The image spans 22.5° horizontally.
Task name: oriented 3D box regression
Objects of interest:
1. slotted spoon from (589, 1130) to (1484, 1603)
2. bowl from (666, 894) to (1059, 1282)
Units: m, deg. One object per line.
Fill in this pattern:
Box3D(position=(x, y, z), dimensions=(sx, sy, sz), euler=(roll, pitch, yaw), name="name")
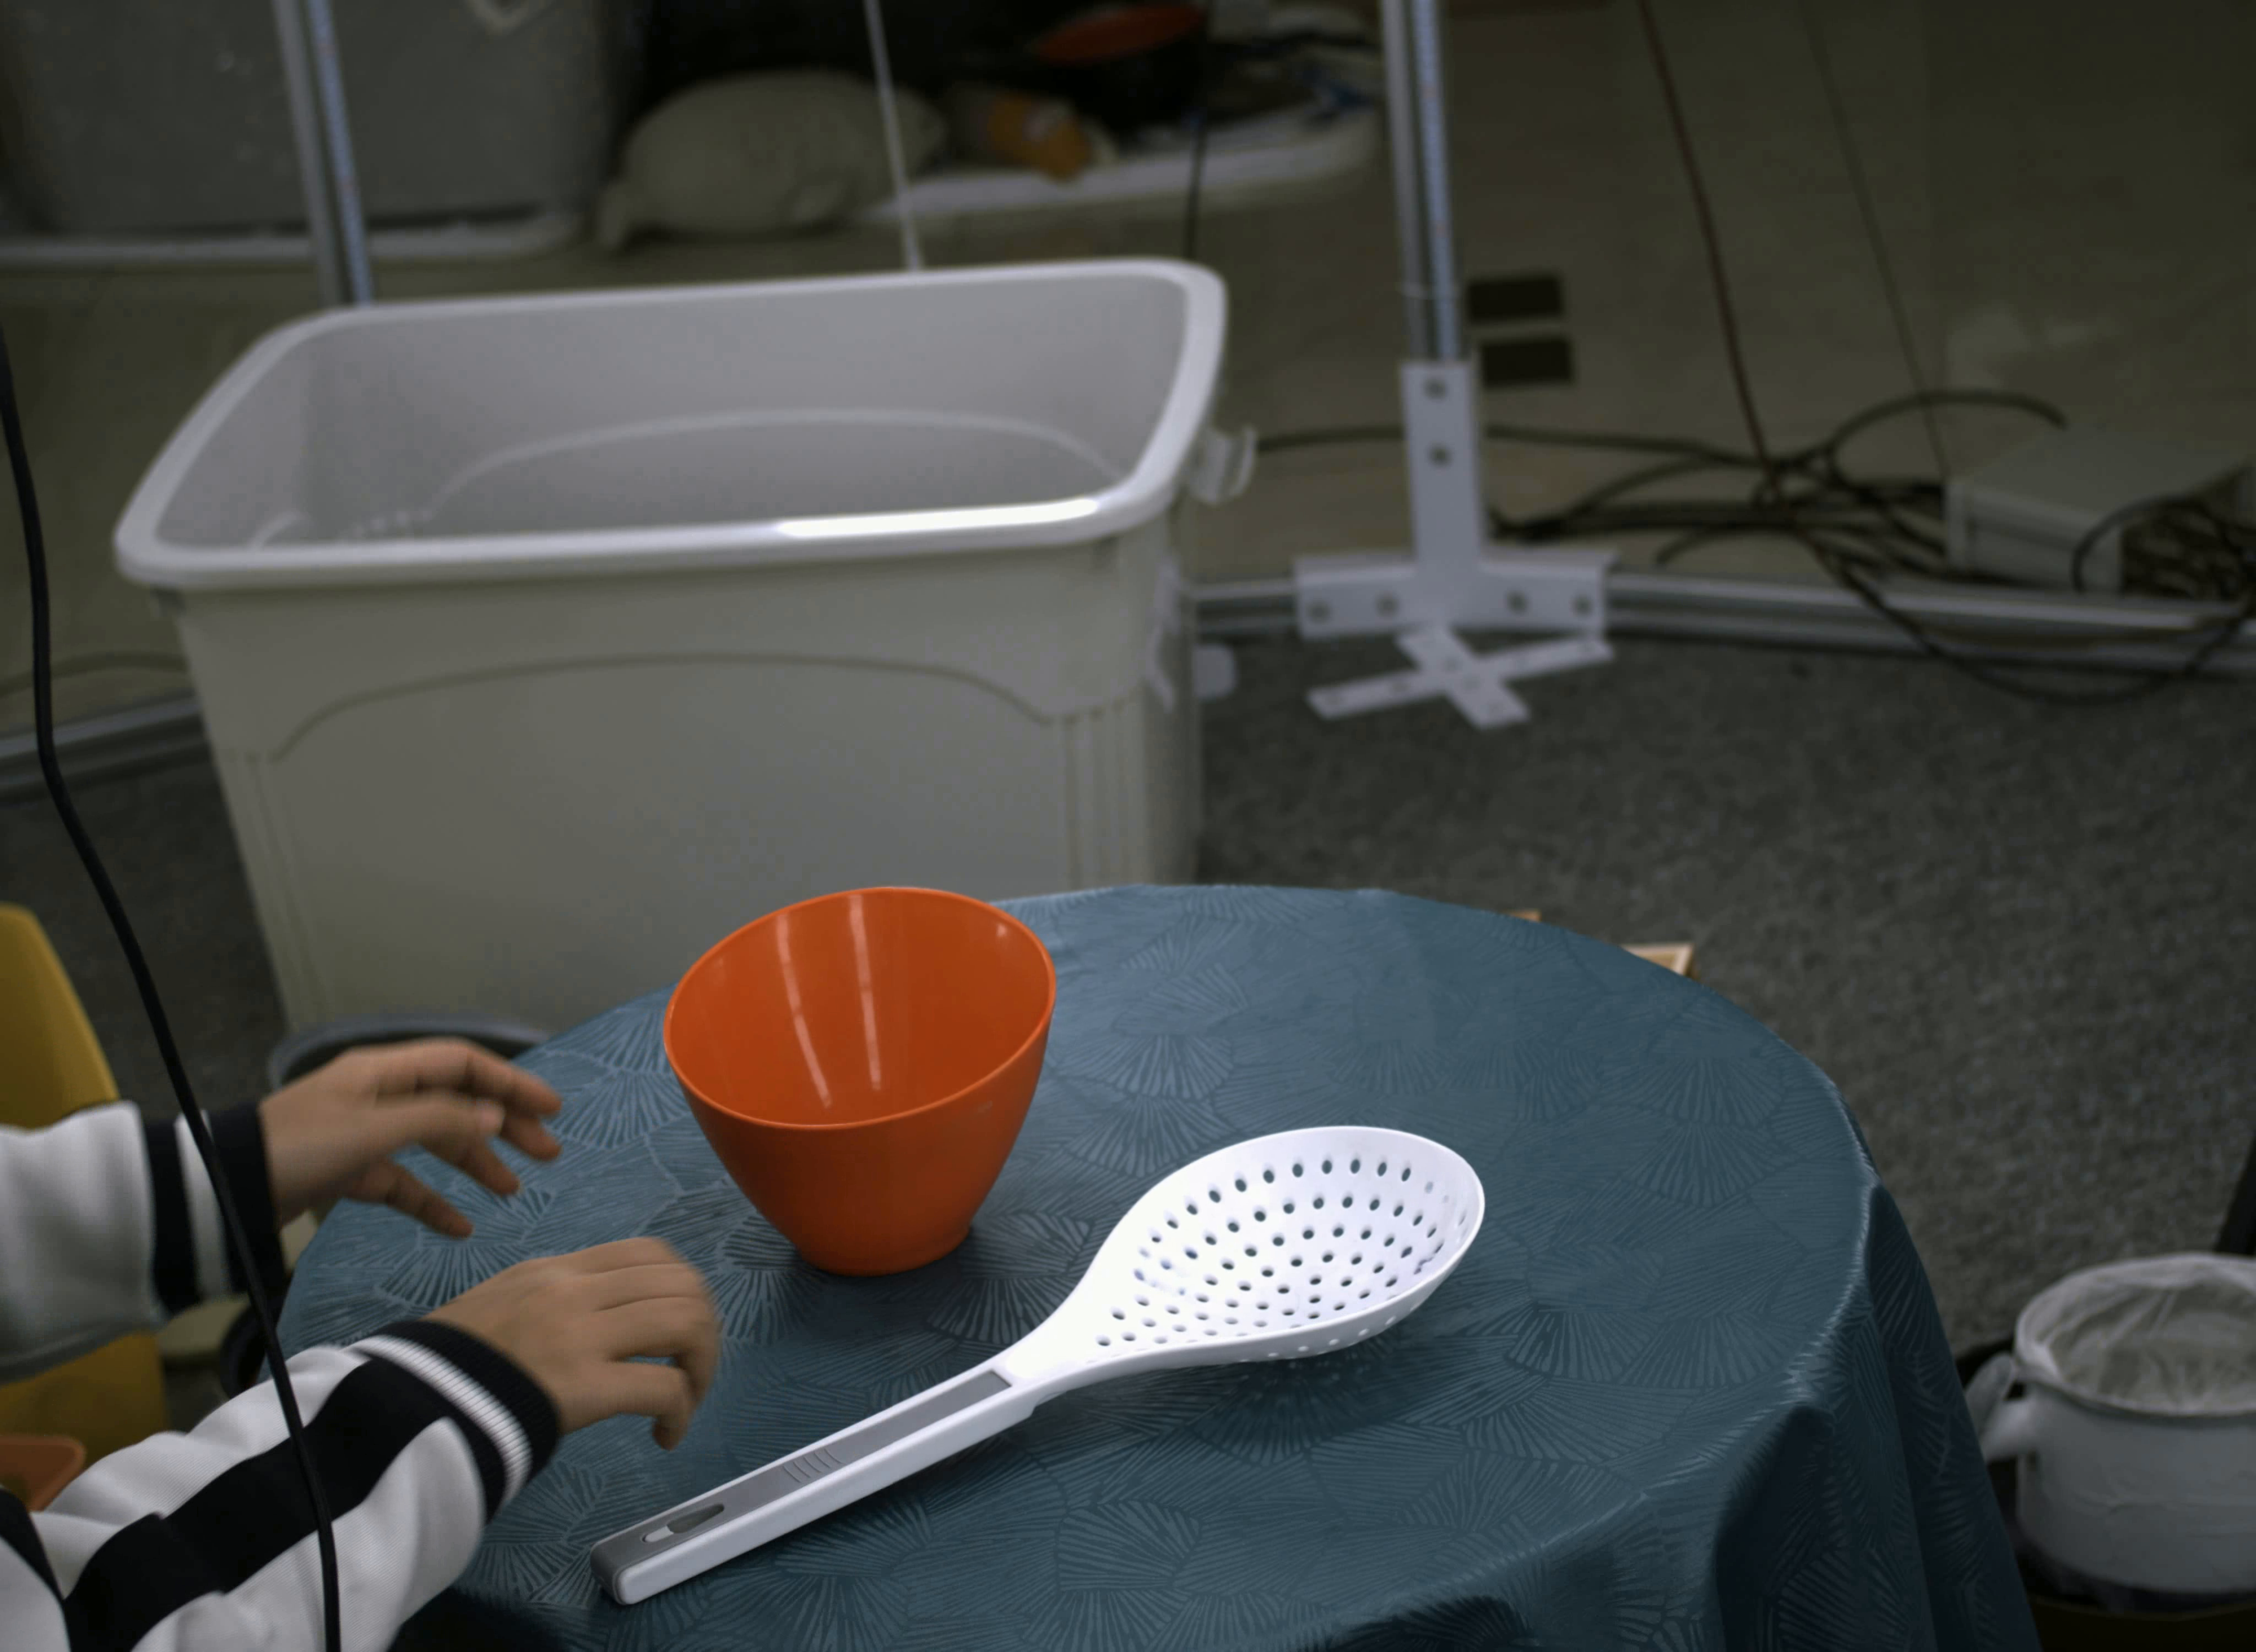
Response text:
Box3D(position=(-0.030, 0.191, 1.990), dimensions=(0.348, 0.046, 0.134), euler=(-19, 27, -24), name="slotted spoon")
Box3D(position=(-0.096, 0.105, 2.126), dimensions=(0.148, 0.106, 0.146), euler=(-3, 26, 2), name="bowl")
